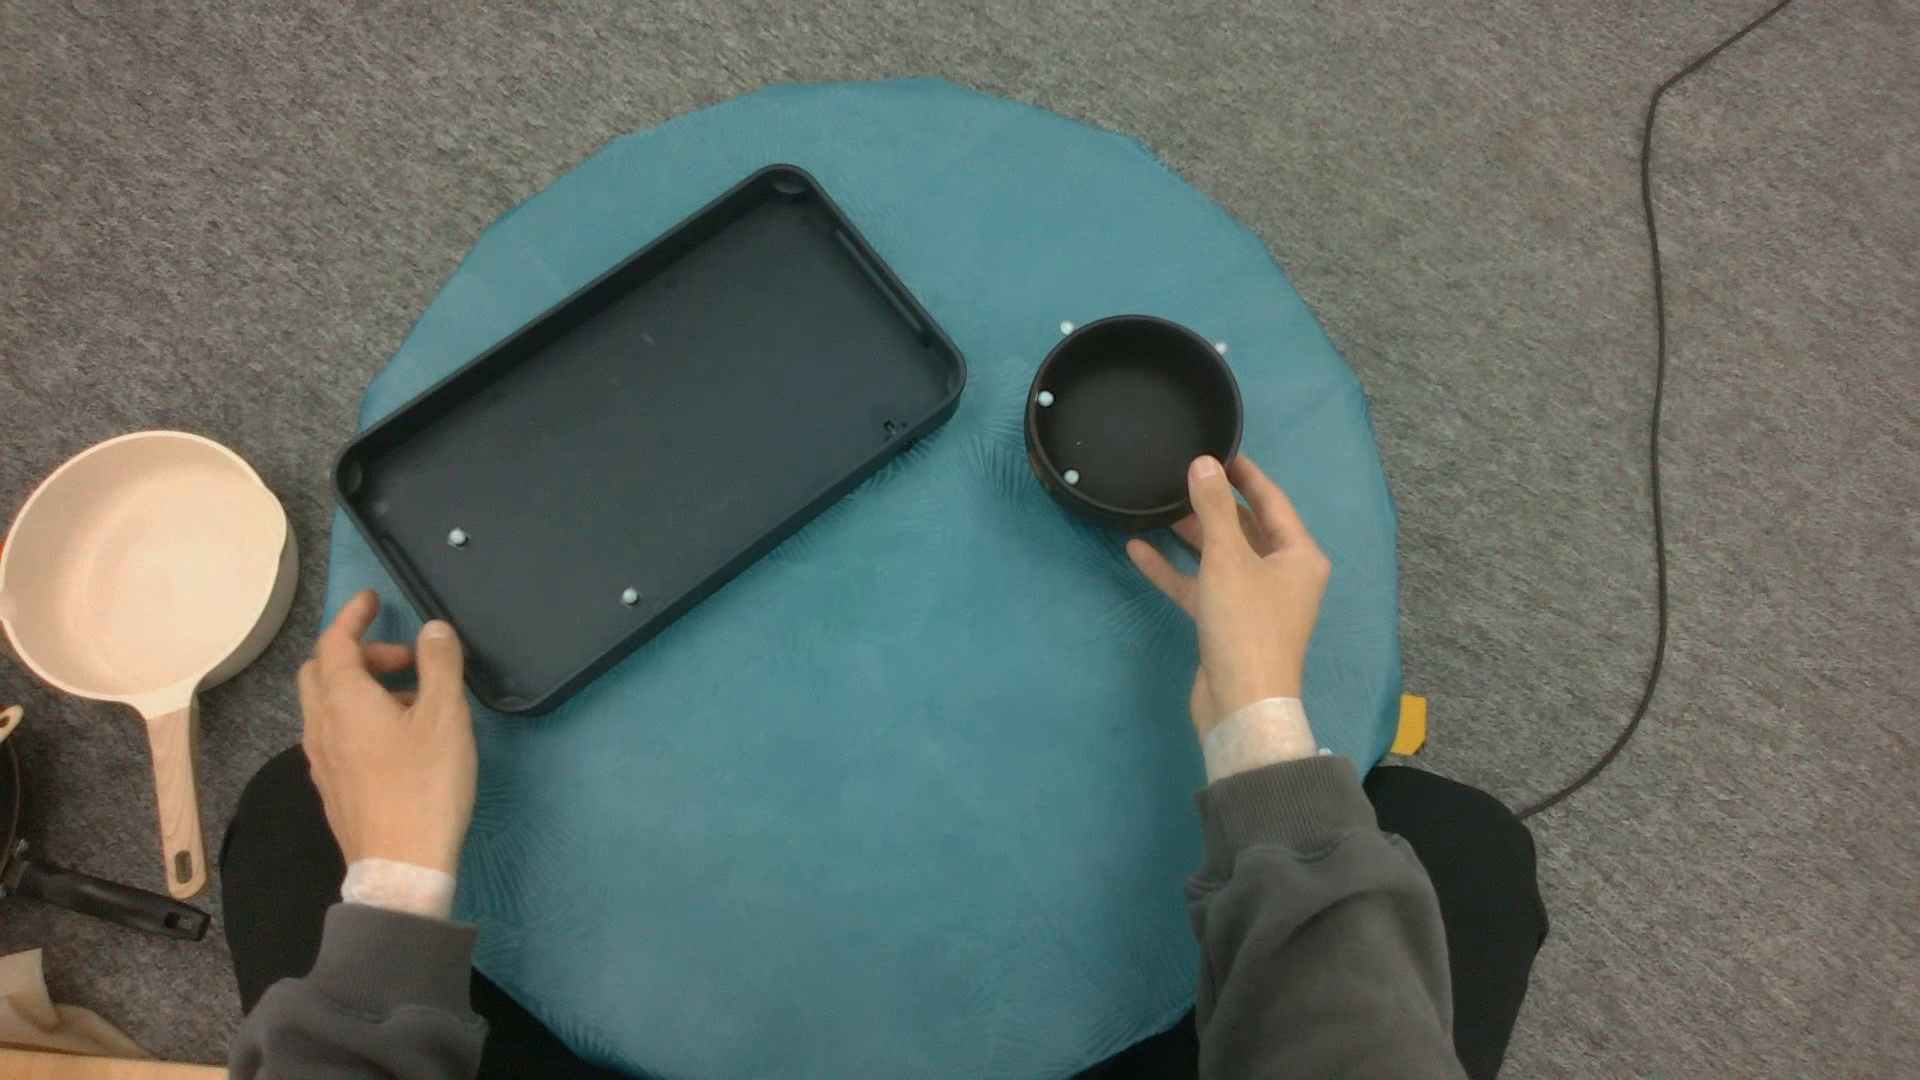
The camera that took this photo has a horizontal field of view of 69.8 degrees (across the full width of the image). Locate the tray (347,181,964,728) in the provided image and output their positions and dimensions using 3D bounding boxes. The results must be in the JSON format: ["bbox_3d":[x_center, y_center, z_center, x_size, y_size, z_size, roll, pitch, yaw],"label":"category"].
[{"bbox_3d":[-0.168,-0.054,0.787,0.318,0.037,0.184,-39,78,-12],"label":"tray"}]

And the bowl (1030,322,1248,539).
[{"bbox_3d":[0.097,-0.056,0.772,0.118,0.069,0.118,0,75,-1],"label":"bowl"}]
